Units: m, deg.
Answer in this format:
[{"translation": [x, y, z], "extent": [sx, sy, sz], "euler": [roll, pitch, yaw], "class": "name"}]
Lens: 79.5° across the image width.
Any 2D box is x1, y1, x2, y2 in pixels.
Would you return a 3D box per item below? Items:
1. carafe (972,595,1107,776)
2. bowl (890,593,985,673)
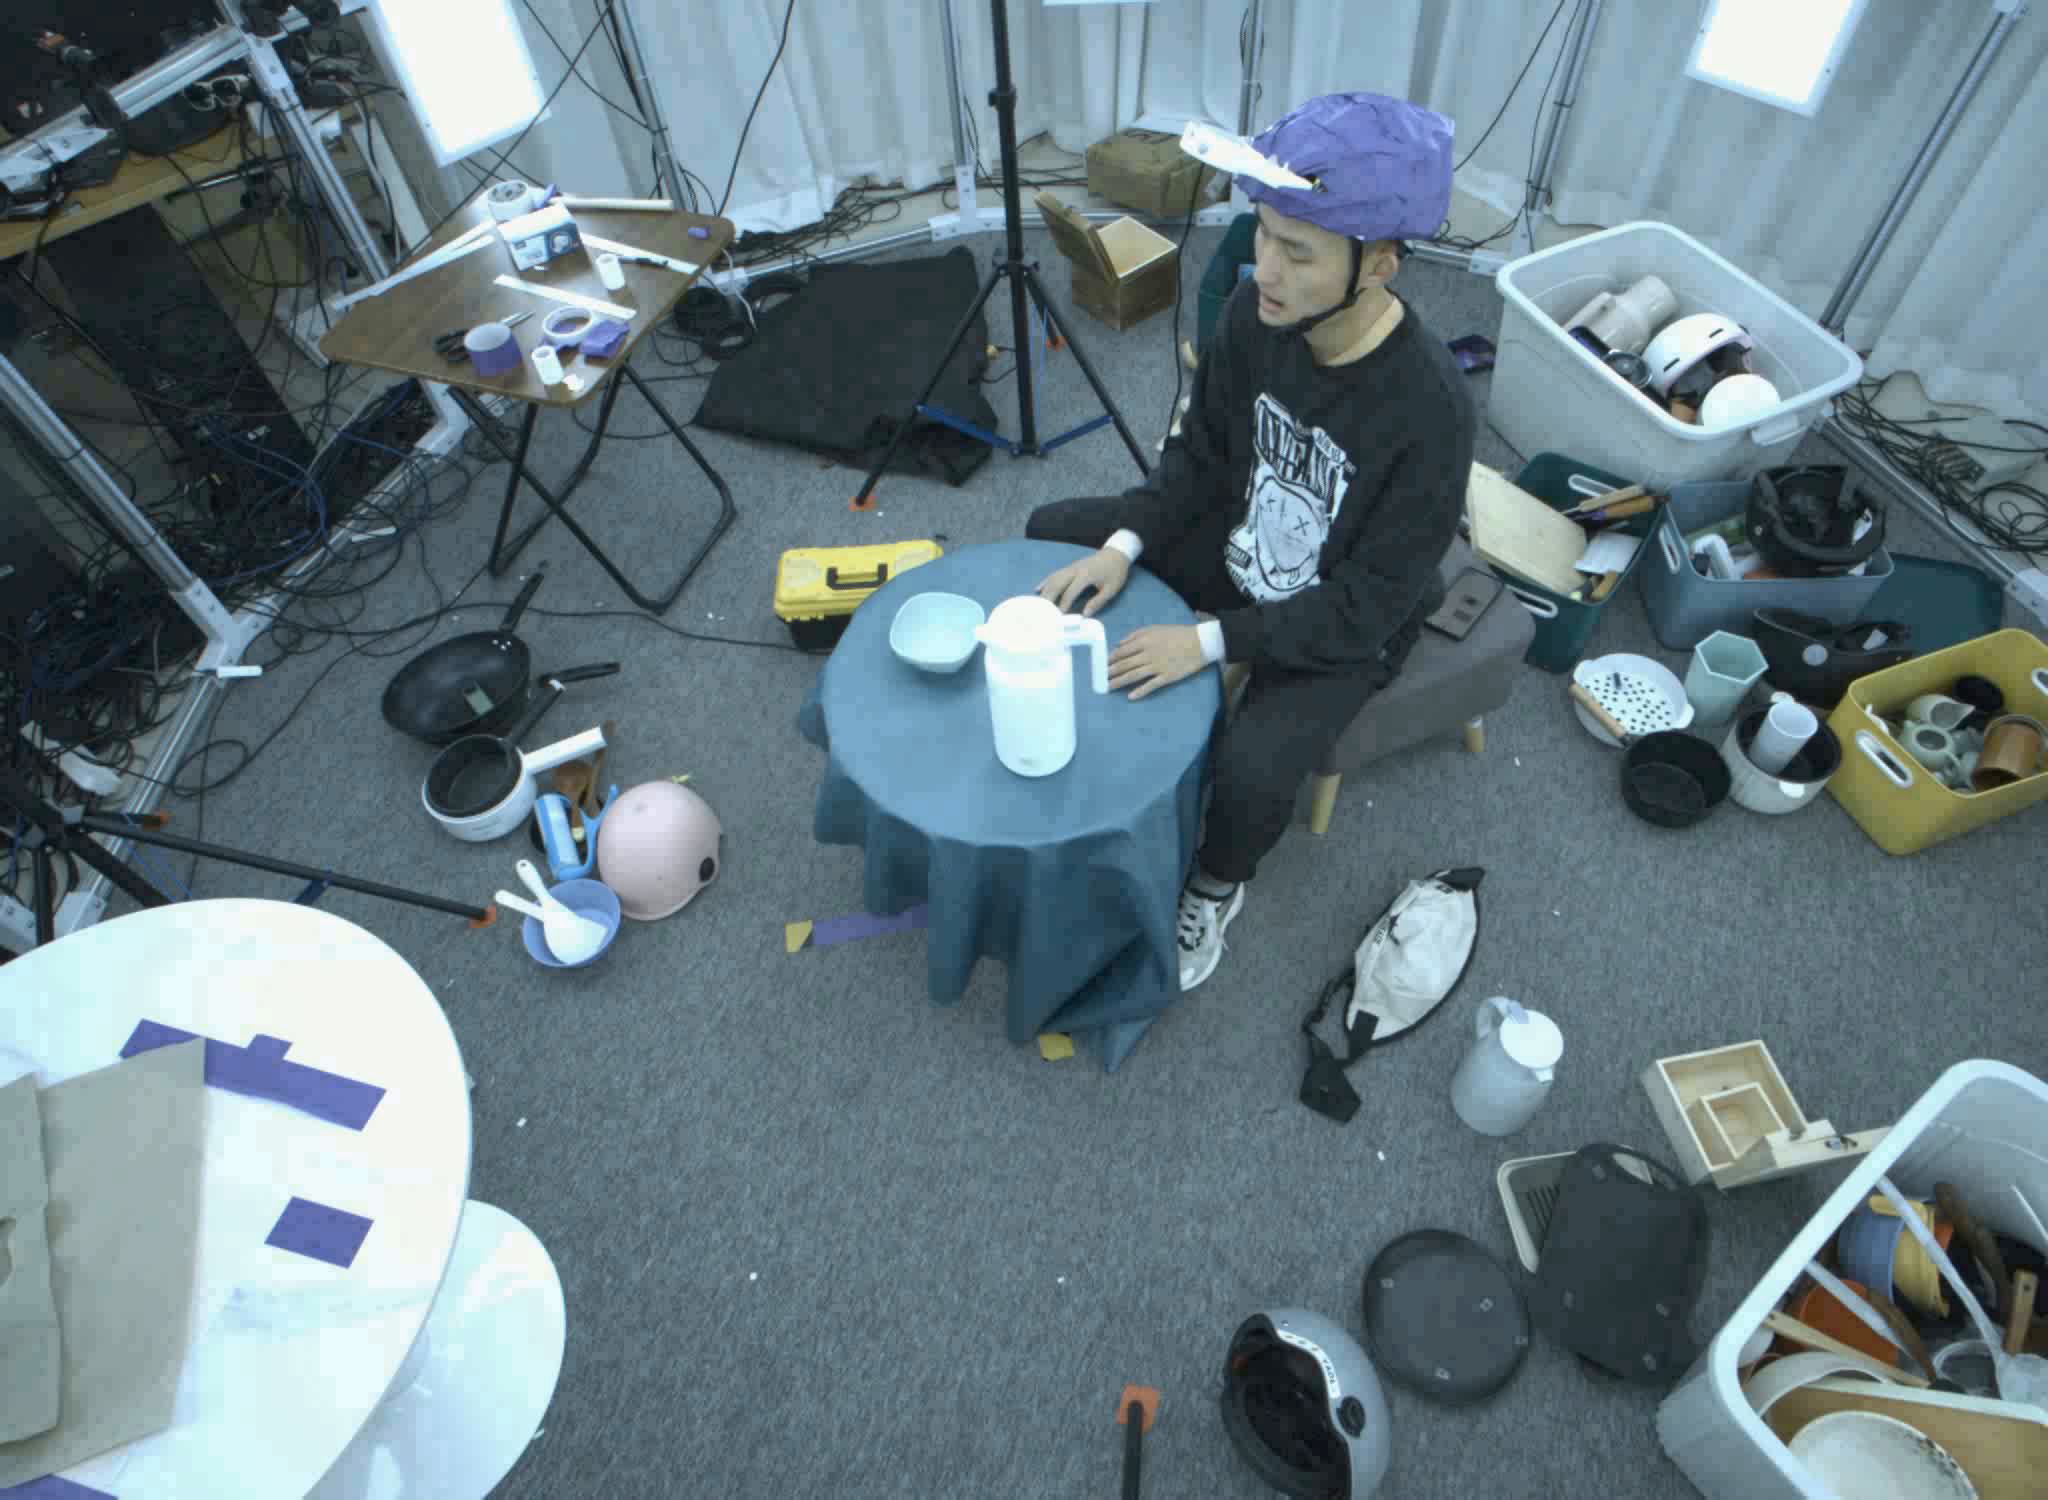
[{"translation": [0.026, -0.087, 1.680], "extent": [0.173, 0.272, 0.122], "euler": [-7, 52, -1], "class": "carafe"}, {"translation": [-0.130, -0.170, 1.876], "extent": [0.151, 0.059, 0.150], "euler": [0, 55, 2], "class": "bowl"}]
